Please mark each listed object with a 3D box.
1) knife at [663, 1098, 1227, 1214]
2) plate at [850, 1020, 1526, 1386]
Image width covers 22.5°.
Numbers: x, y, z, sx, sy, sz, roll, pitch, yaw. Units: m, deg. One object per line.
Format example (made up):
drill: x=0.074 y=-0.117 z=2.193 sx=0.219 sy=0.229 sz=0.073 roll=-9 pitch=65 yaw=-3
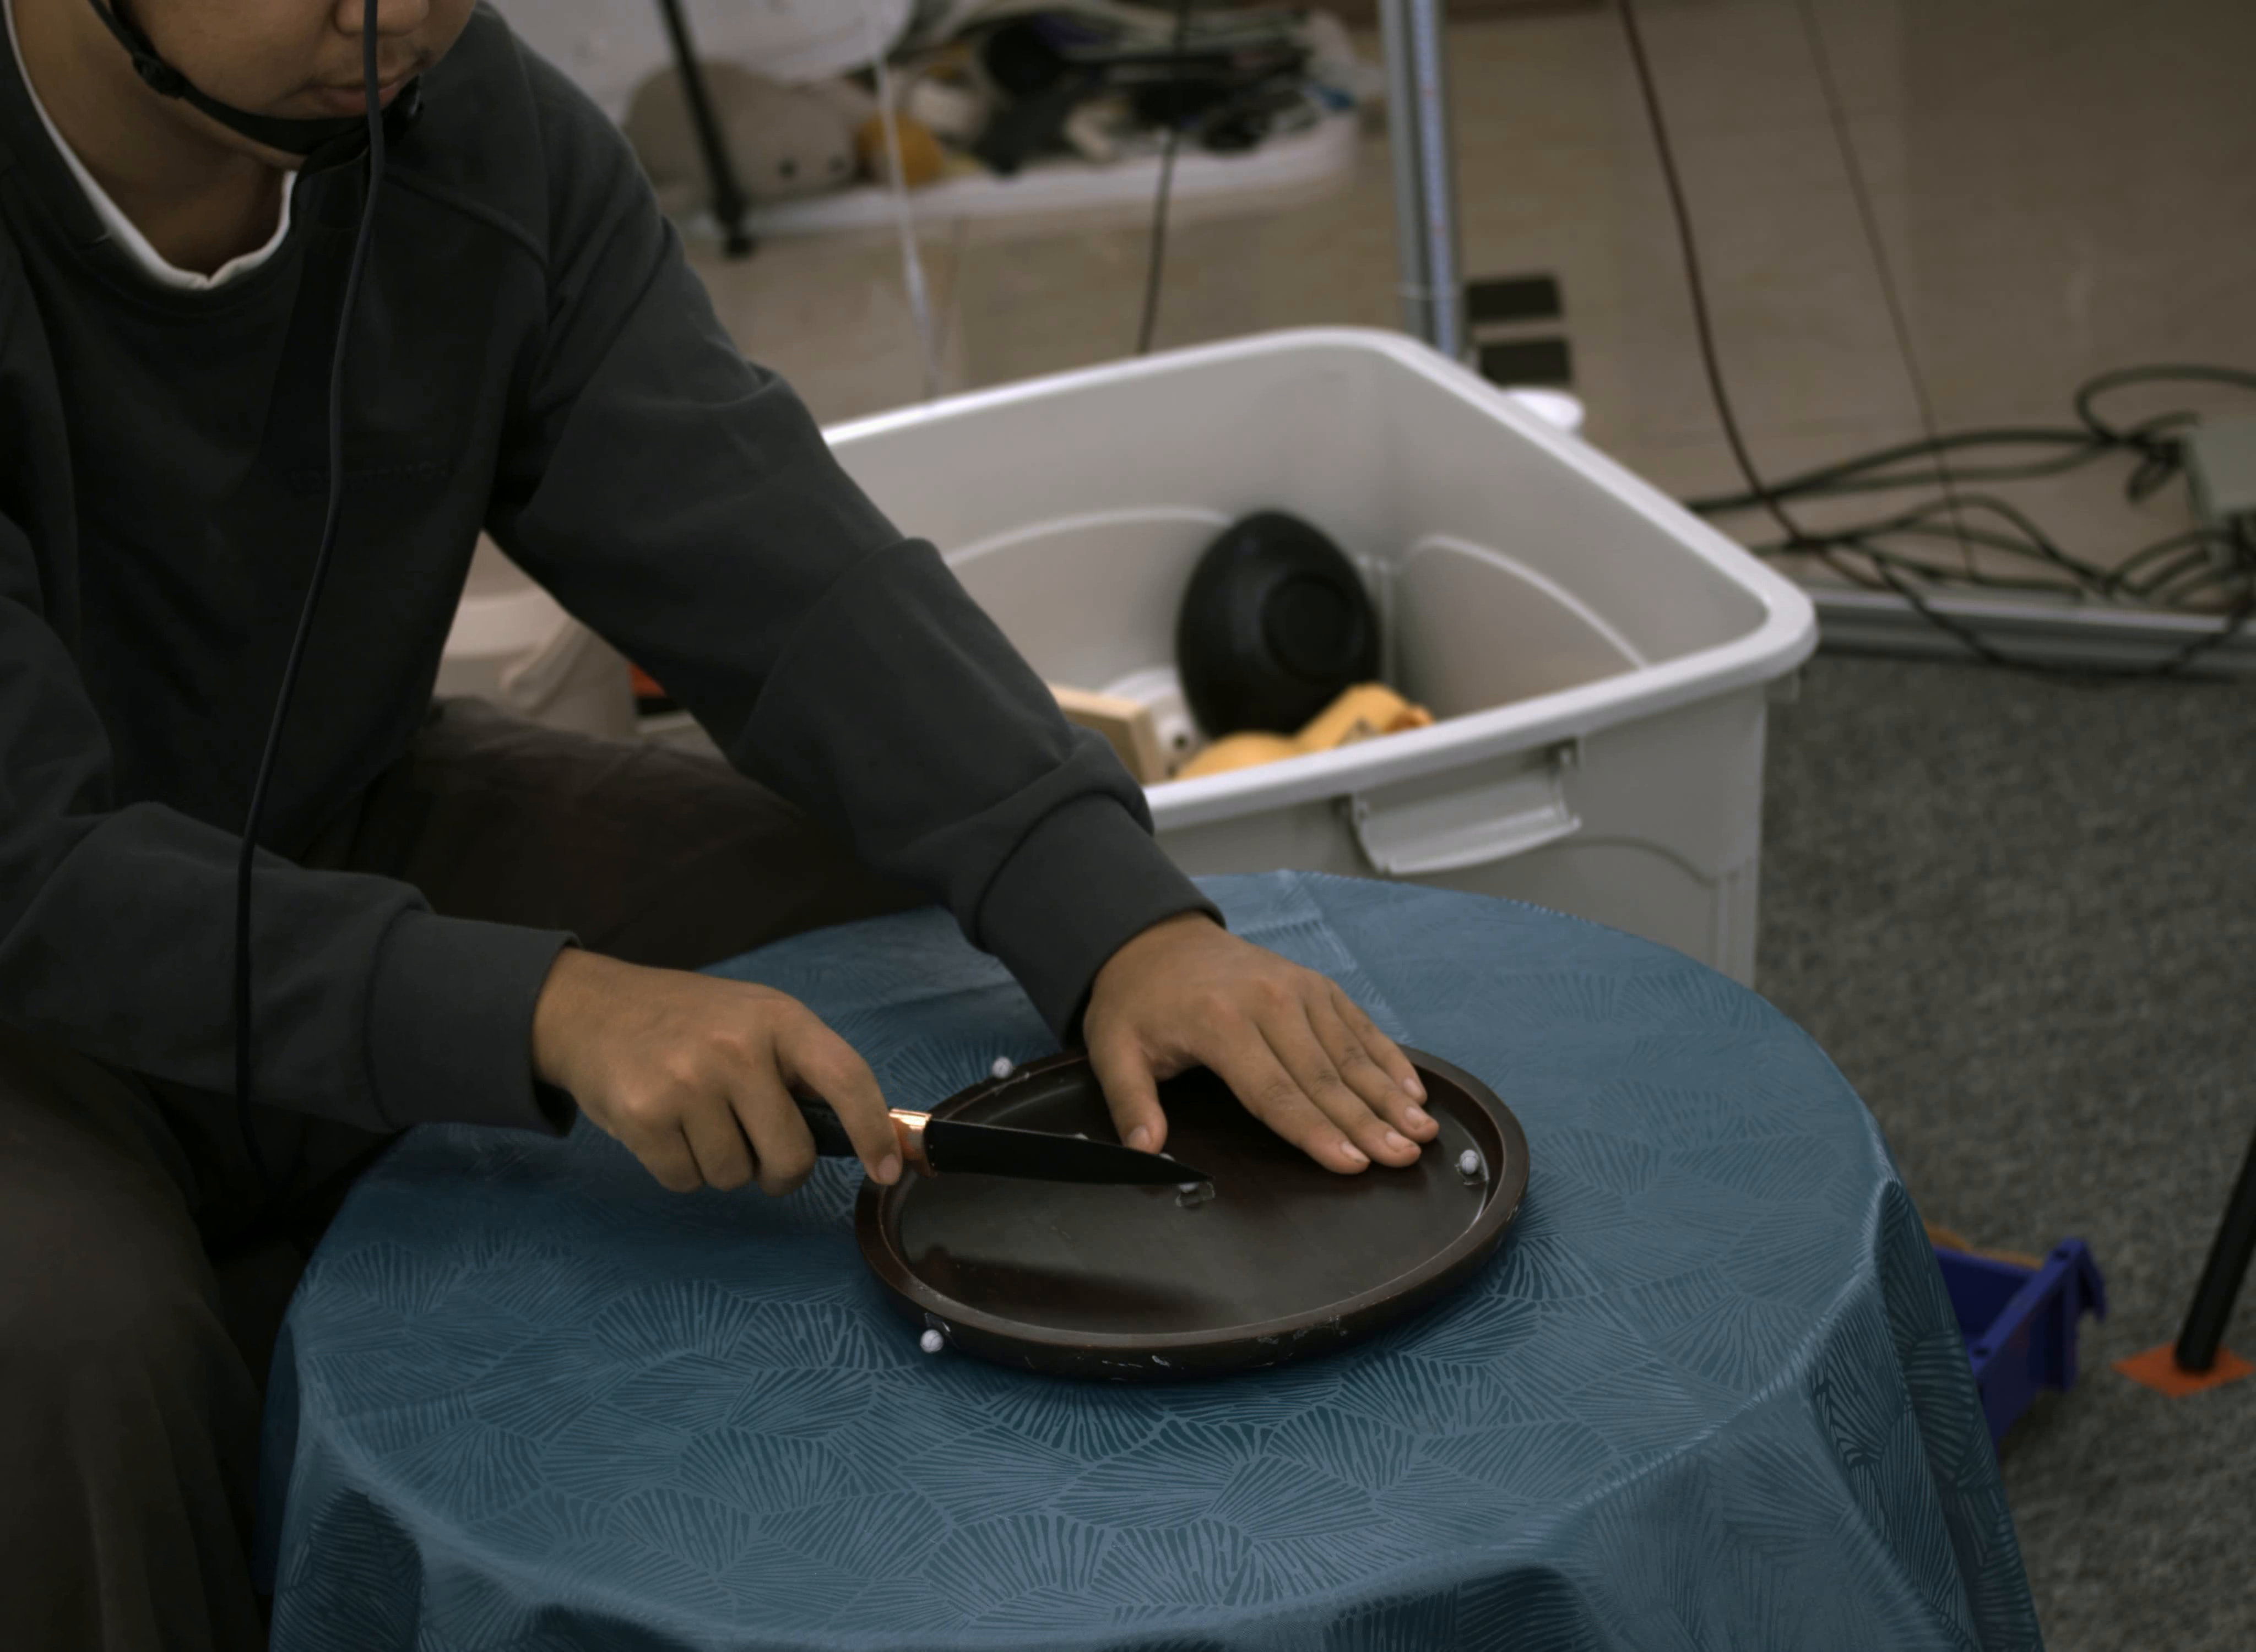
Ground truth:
knife: x=-0.070 y=0.122 z=2.111 sx=0.225 sy=0.026 sz=0.017 roll=6 pitch=24 yaw=19
plate: x=0.023 y=0.139 z=2.115 sx=0.254 sy=0.029 sz=0.251 roll=-7 pitch=24 yaw=3
